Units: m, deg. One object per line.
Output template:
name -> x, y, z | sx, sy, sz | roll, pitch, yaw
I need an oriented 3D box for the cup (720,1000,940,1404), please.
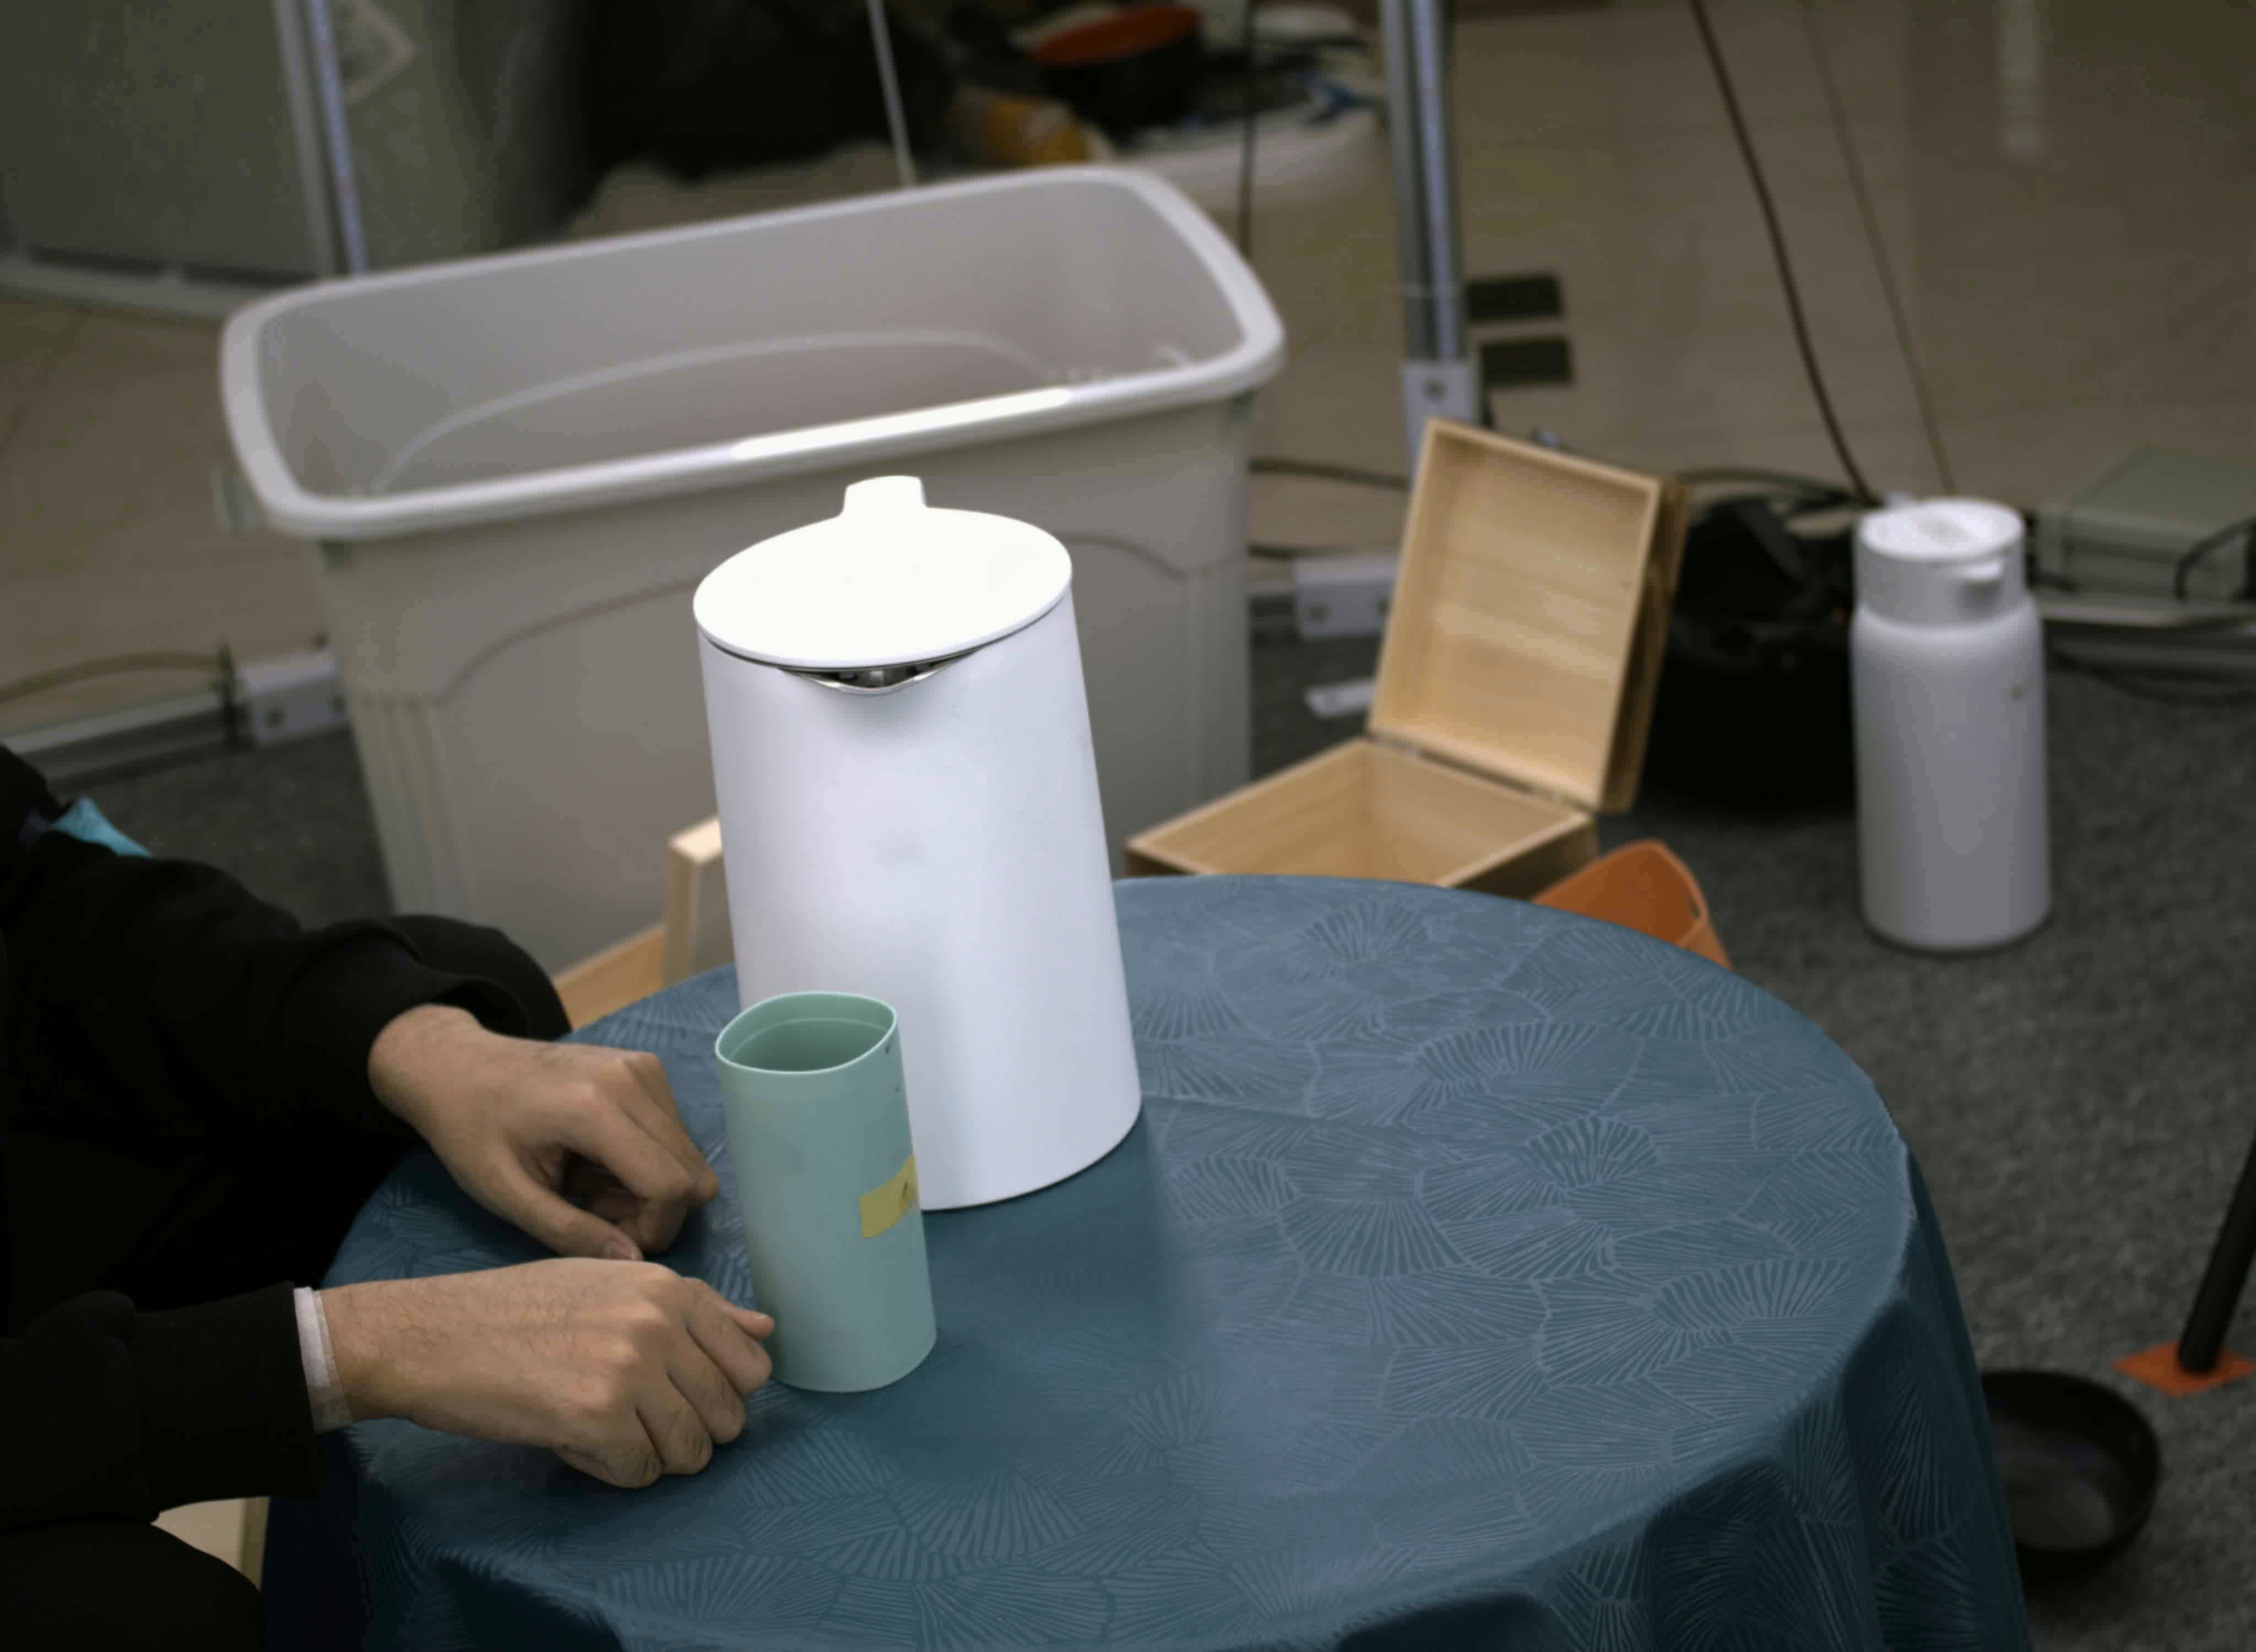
cup -> -0.107, 0.134, 2.031 | 0.066, 0.134, 0.066 | -5, 27, 2

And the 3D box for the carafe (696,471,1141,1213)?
carafe -> -0.080, 0.000, 2.184 | 0.152, 0.244, 0.210 | -5, 27, 1
